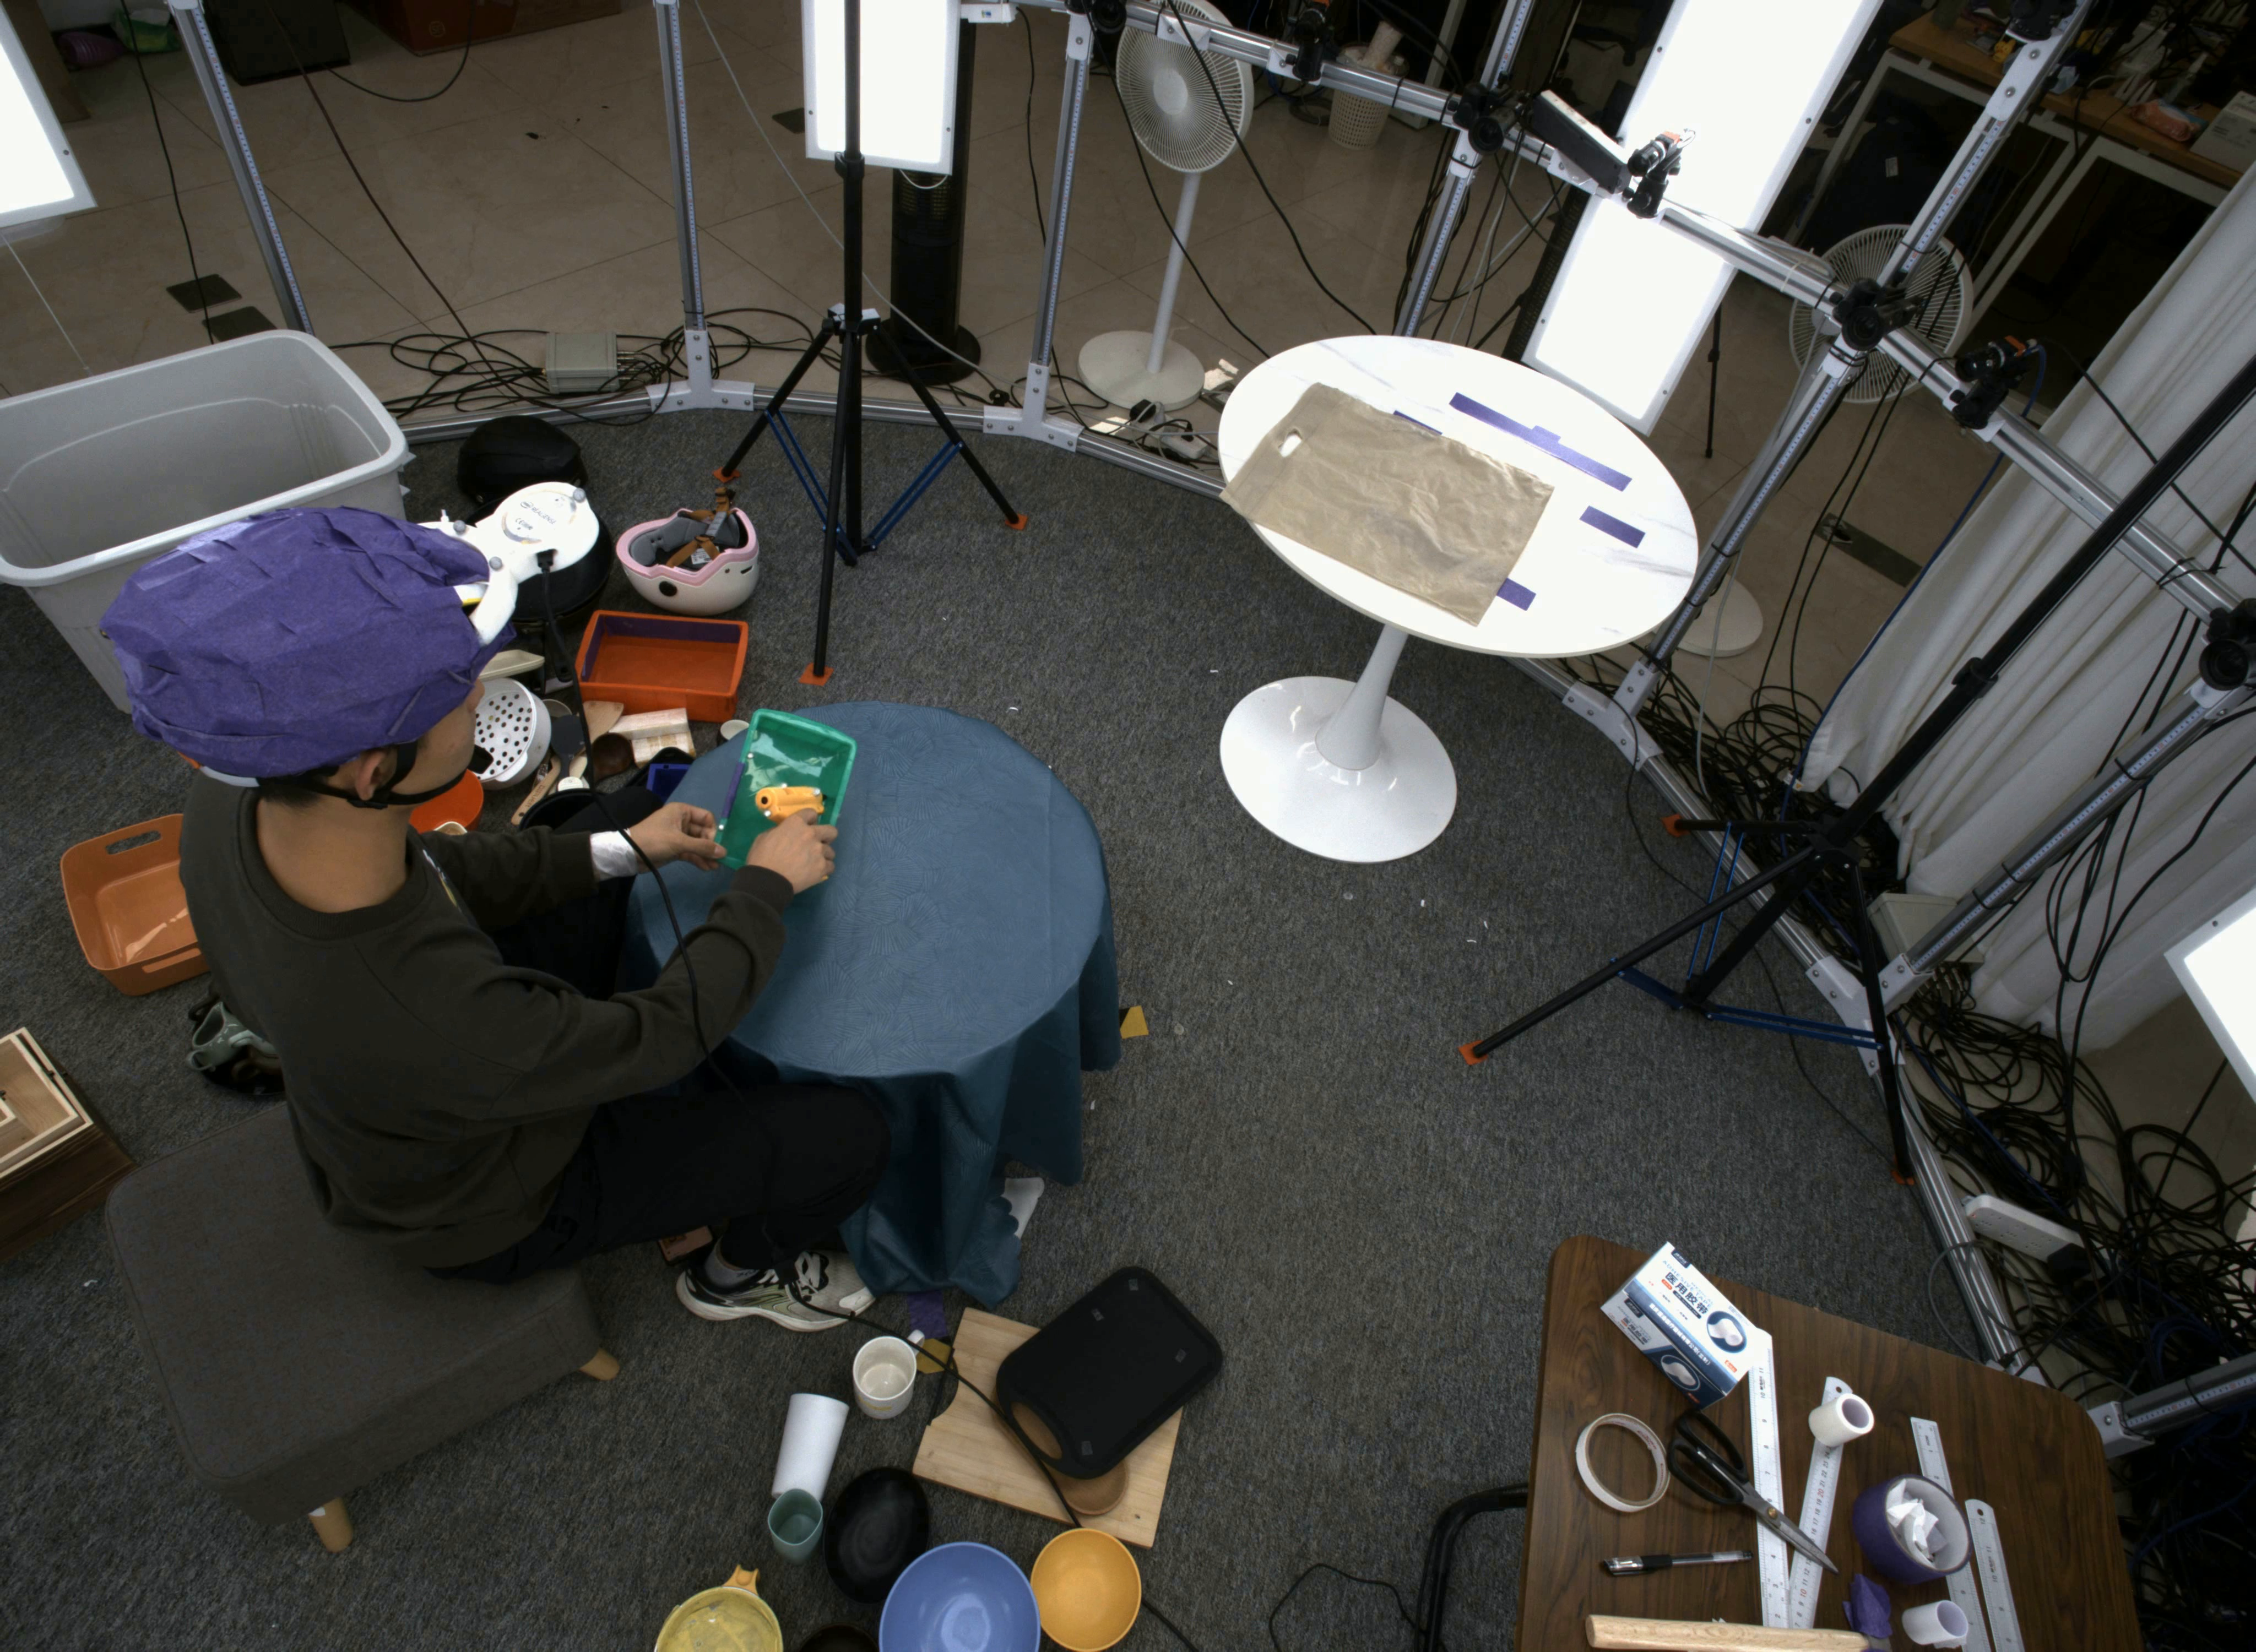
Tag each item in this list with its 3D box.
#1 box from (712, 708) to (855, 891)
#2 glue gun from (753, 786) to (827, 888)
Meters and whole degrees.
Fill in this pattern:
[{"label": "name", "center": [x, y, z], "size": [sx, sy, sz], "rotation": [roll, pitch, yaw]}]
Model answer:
[{"label": "box", "center": [-0.437, -0.030, 1.632], "size": [0.141, 0.064, 0.211], "rotation": [16, 81, -23]}, {"label": "glue gun", "center": [-0.393, 0.005, 1.612], "size": [0.134, 0.031, 0.152], "rotation": [63, 16, -1]}]
